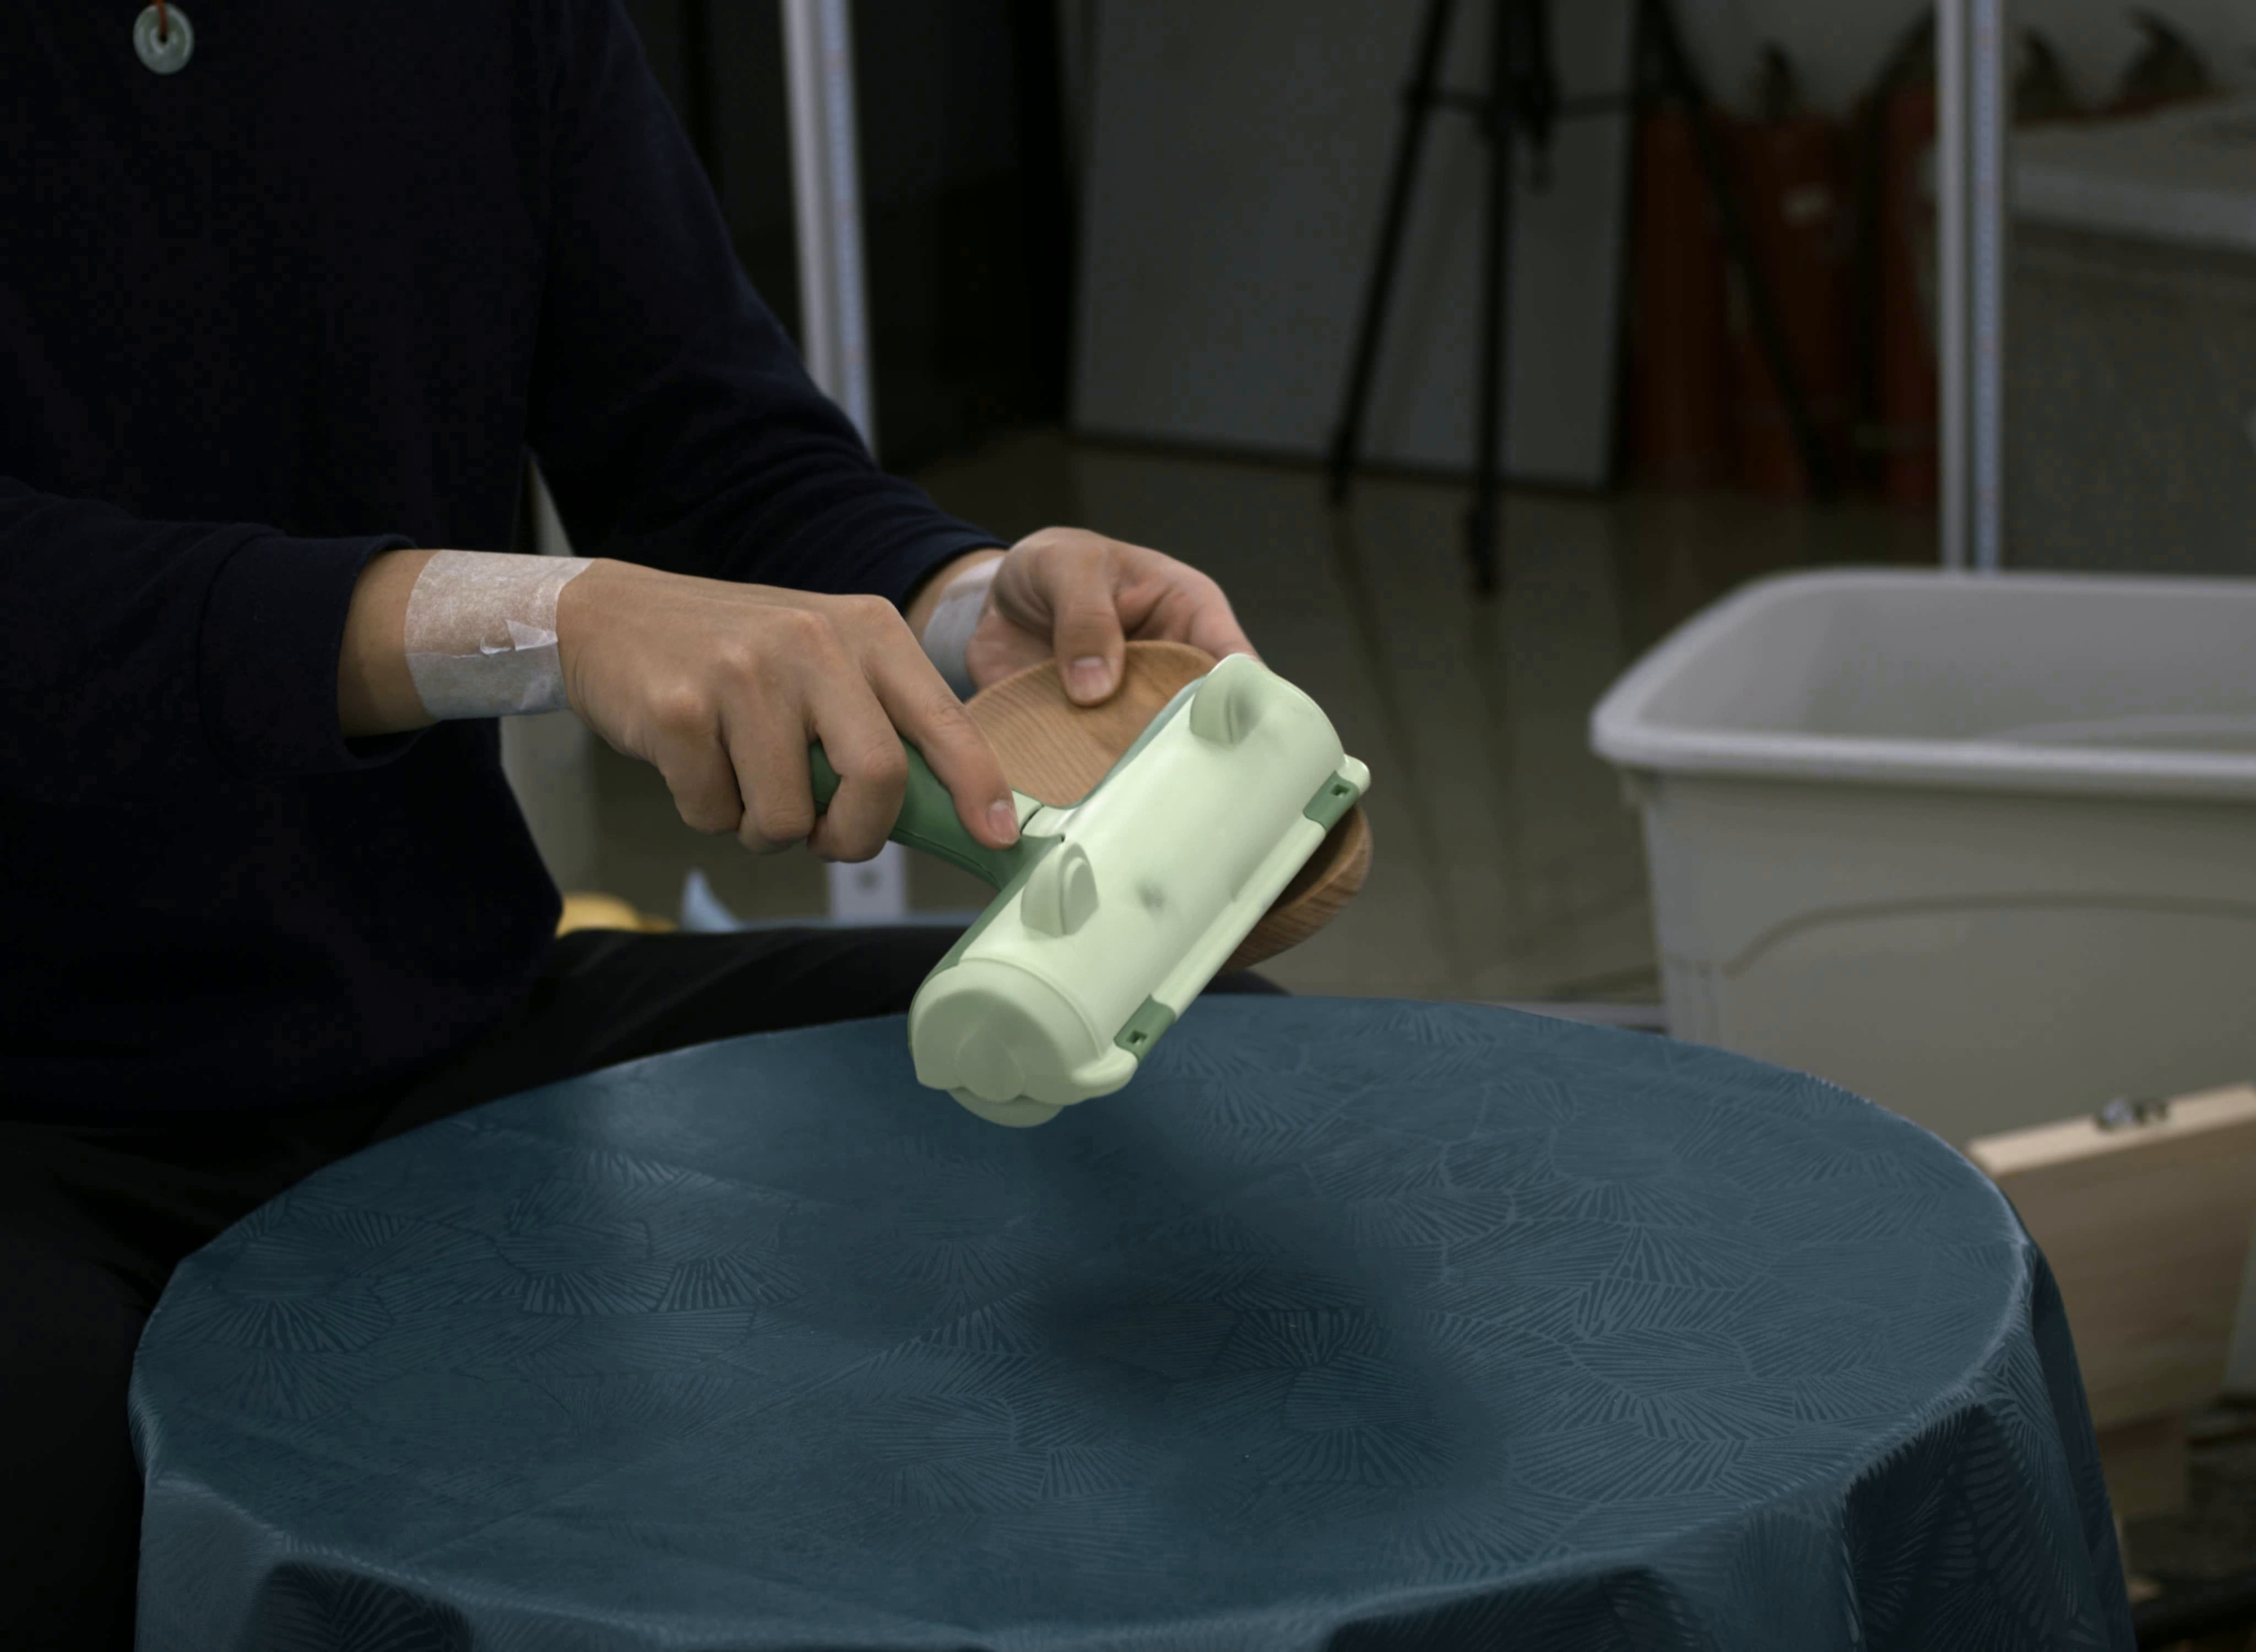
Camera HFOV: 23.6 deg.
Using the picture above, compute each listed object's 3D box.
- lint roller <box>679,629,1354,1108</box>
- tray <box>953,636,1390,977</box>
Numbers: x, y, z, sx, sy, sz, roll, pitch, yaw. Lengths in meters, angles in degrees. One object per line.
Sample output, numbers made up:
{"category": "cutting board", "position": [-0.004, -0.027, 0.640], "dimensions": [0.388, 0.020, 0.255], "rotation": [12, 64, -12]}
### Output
{"category": "lint roller", "position": [-0.044, -0.023, 1.563], "dimensions": [0.183, 0.083, 0.197], "rotation": [32, 38, 7]}
{"category": "tray", "position": [0.010, -0.008, 1.668], "dimensions": [0.100, 0.020, 0.233], "rotation": [-26, 27, -9]}
